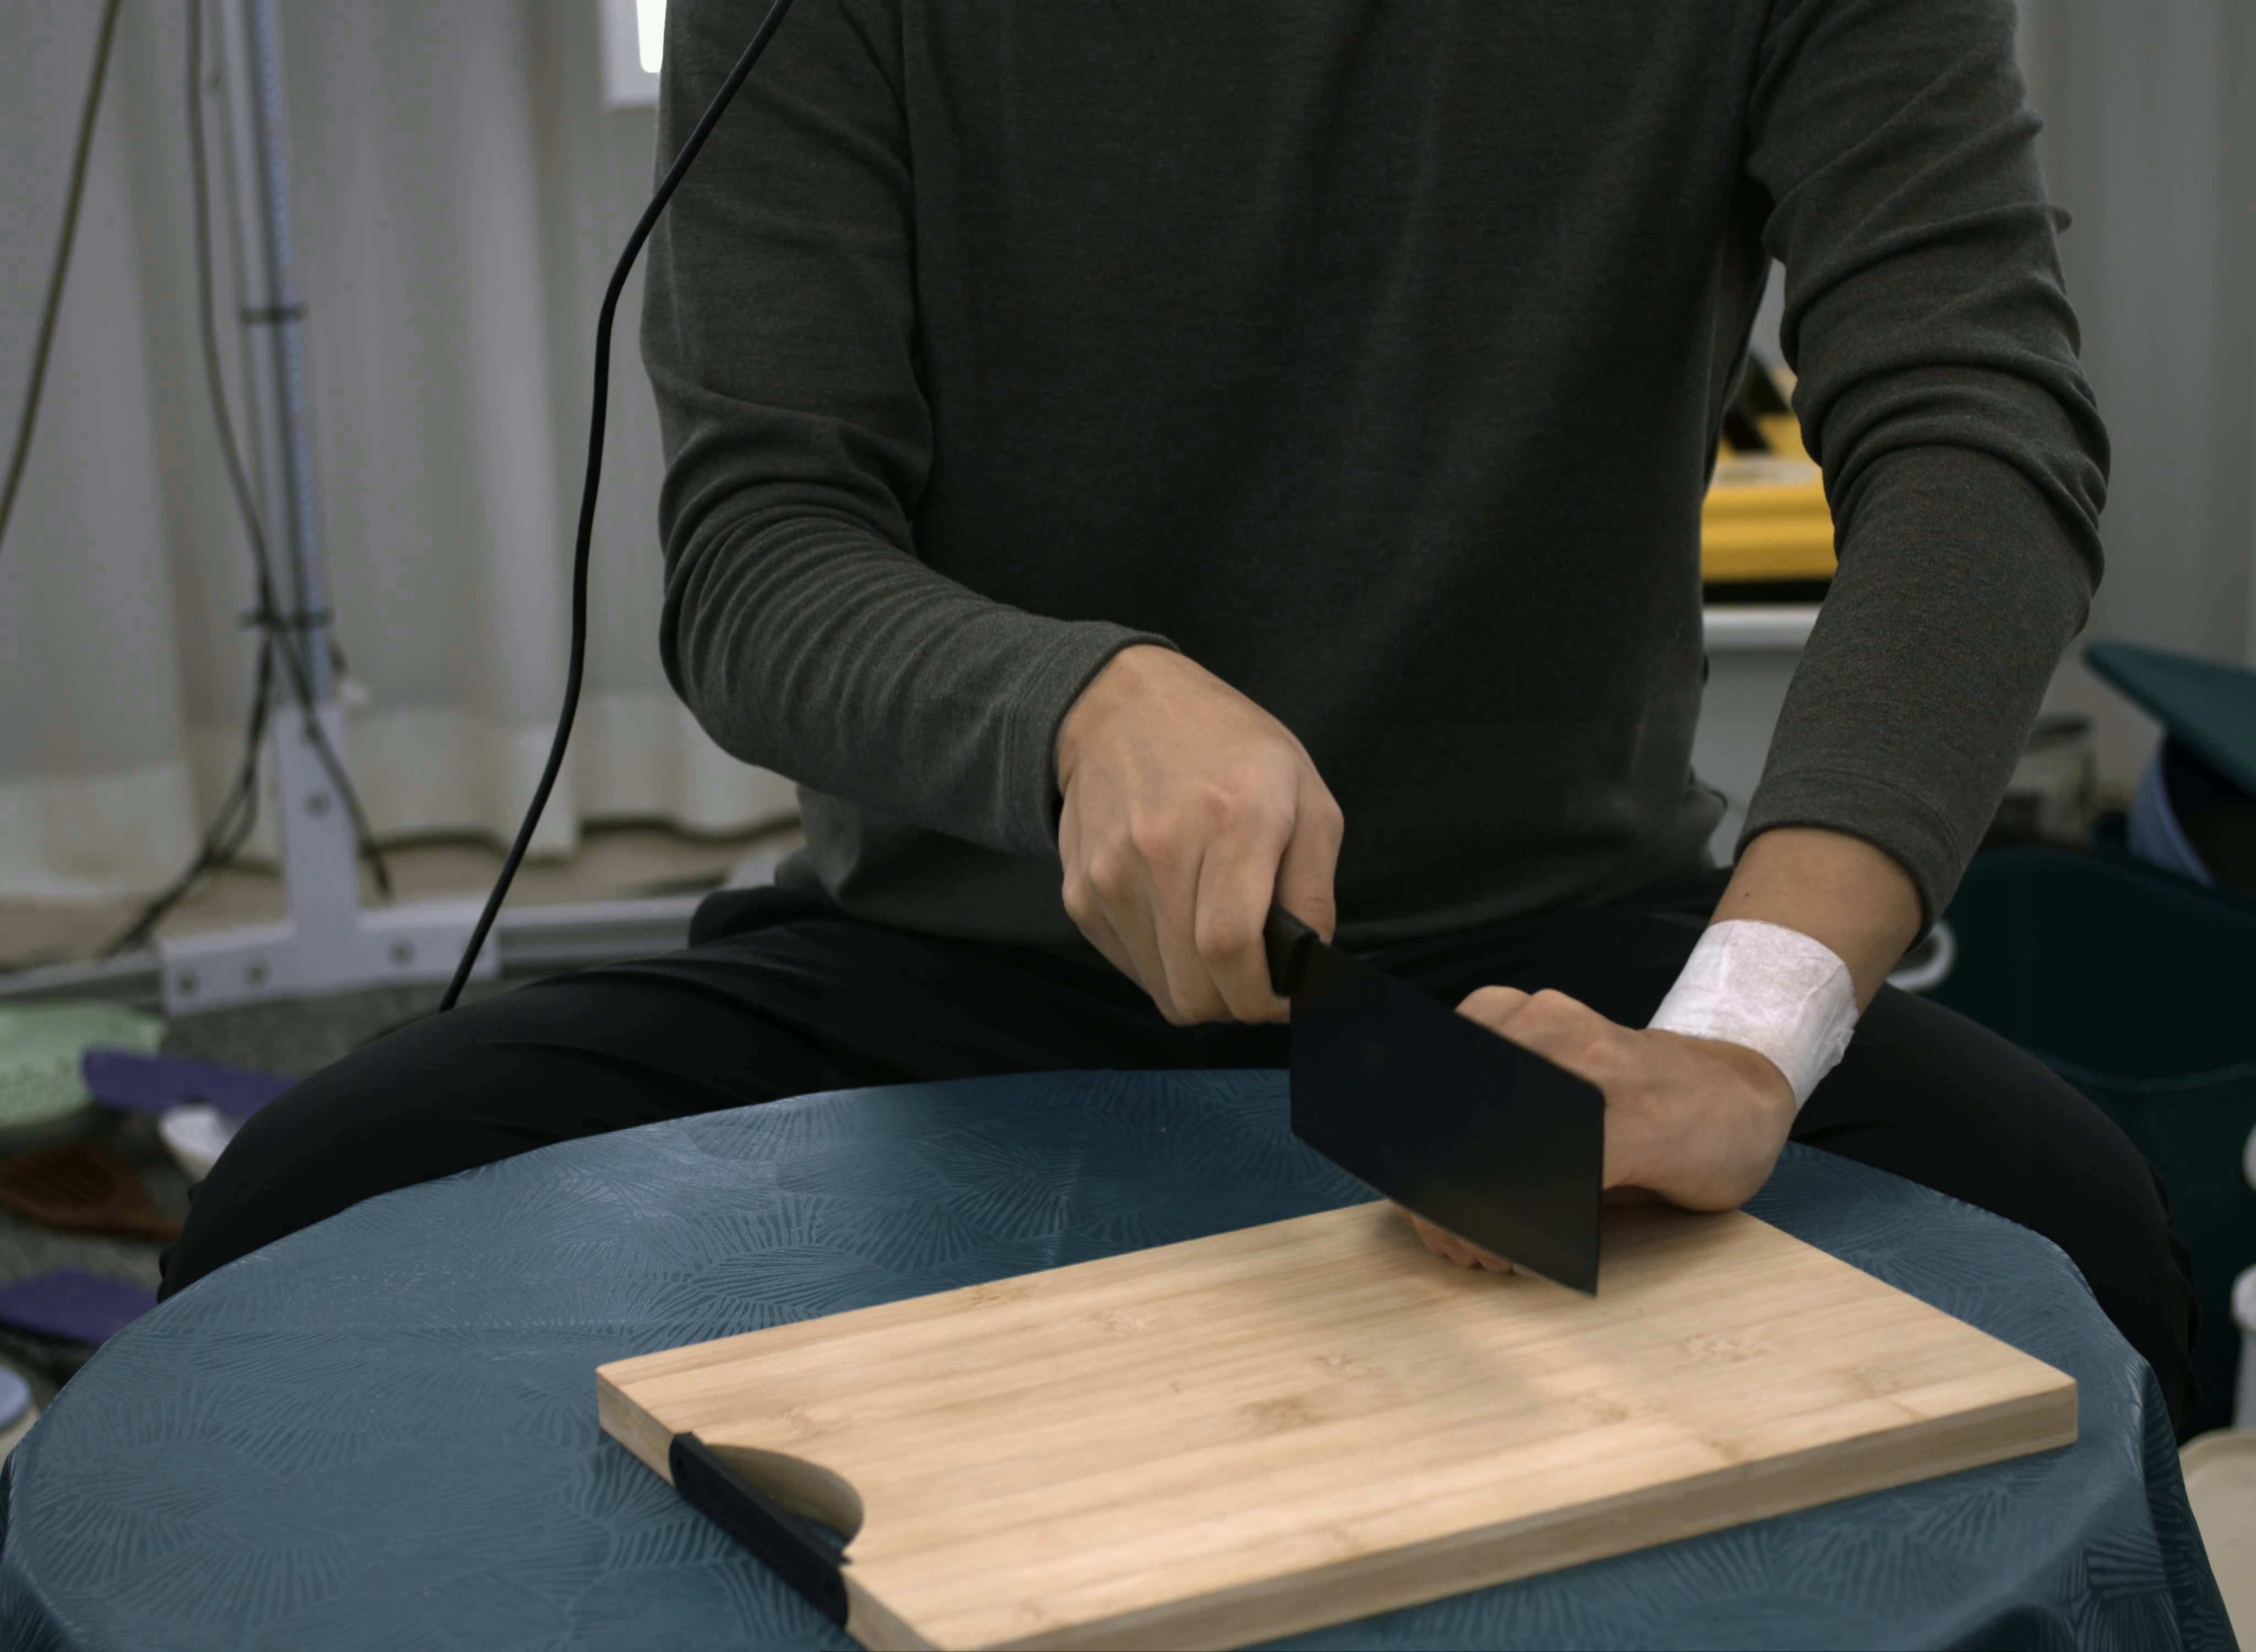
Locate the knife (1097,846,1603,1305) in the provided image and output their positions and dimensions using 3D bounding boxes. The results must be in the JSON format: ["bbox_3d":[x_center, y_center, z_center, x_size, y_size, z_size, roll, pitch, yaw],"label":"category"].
[{"bbox_3d":[0.062,0.065,1.601,0.021,0.080,0.305,-5,20,-25],"label":"knife"}]

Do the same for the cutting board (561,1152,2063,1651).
[{"bbox_3d":[0.049,0.161,1.504,0.347,0.023,0.252,-10,16,-25],"label":"cutting board"}]
